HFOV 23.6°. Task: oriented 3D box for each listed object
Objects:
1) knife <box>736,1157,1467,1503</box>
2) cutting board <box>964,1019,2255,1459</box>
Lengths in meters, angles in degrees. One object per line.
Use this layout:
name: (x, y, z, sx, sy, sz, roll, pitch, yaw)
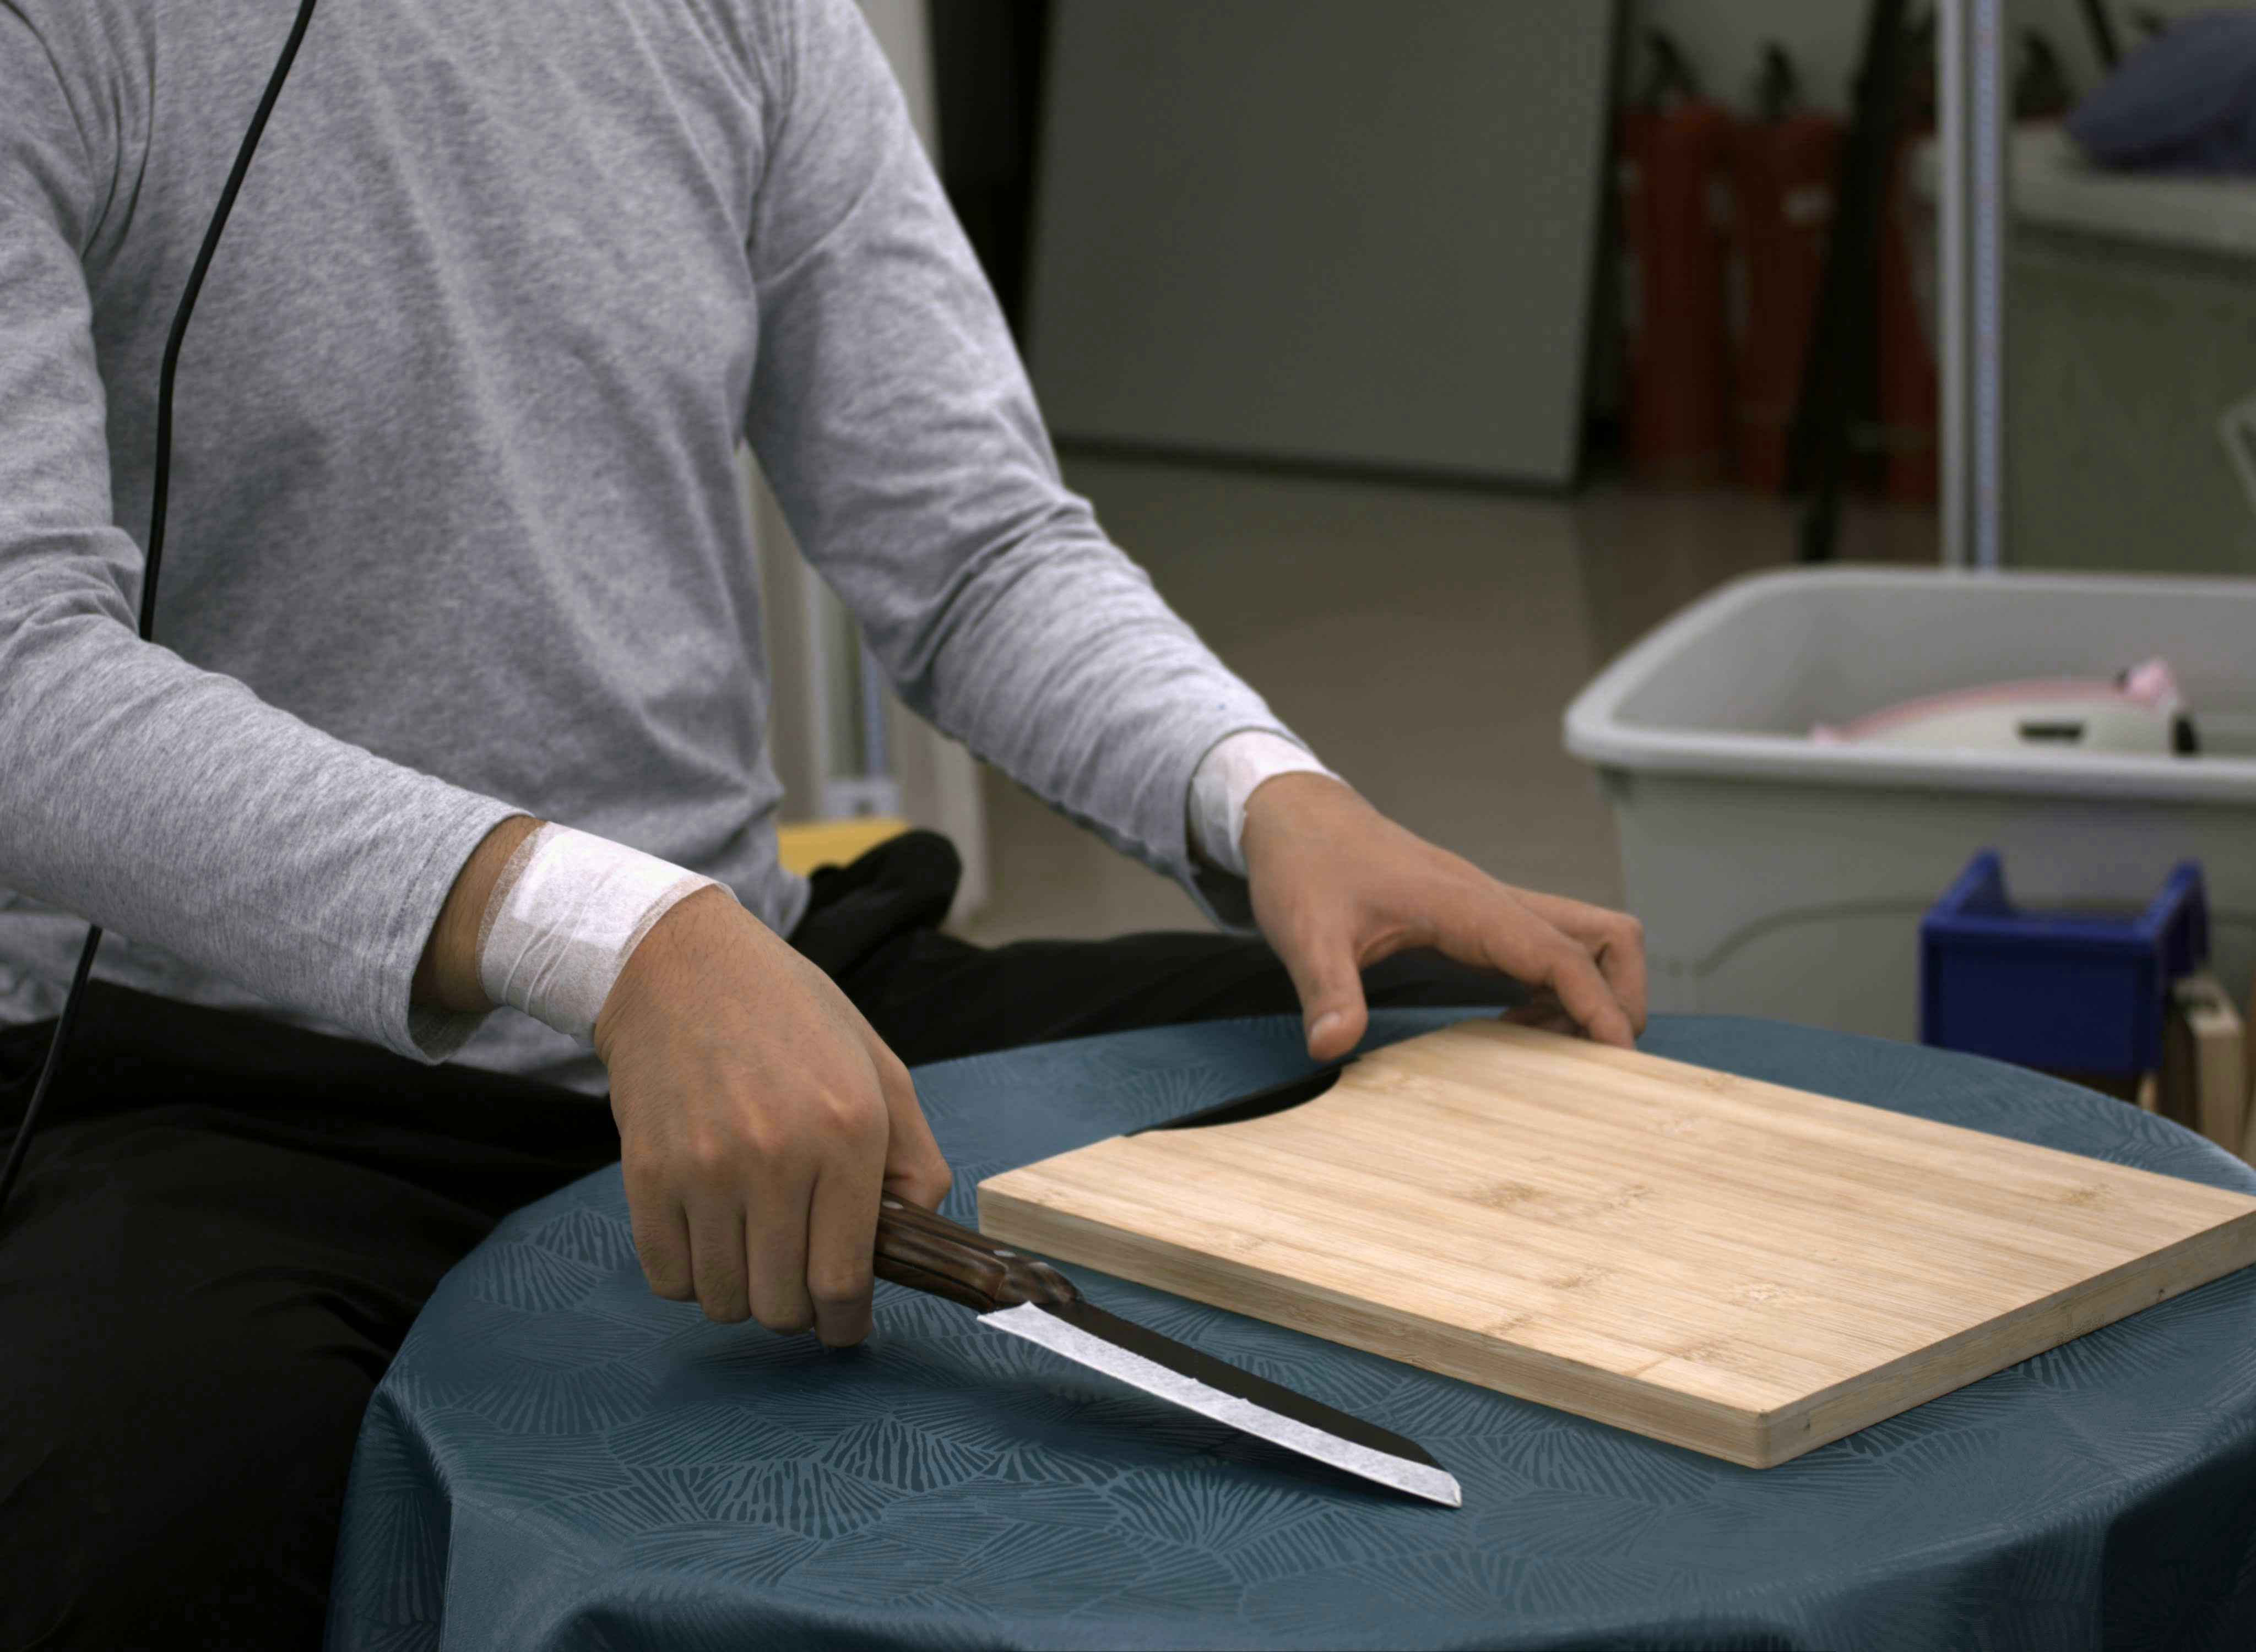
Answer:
knife: (-0.012, 0.148, 1.571, 0.292, 0.020, 0.049, 20, 17, 40)
cutting board: (0.147, 0.123, 1.690, 0.245, 0.024, 0.352, -15, 17, -40)
